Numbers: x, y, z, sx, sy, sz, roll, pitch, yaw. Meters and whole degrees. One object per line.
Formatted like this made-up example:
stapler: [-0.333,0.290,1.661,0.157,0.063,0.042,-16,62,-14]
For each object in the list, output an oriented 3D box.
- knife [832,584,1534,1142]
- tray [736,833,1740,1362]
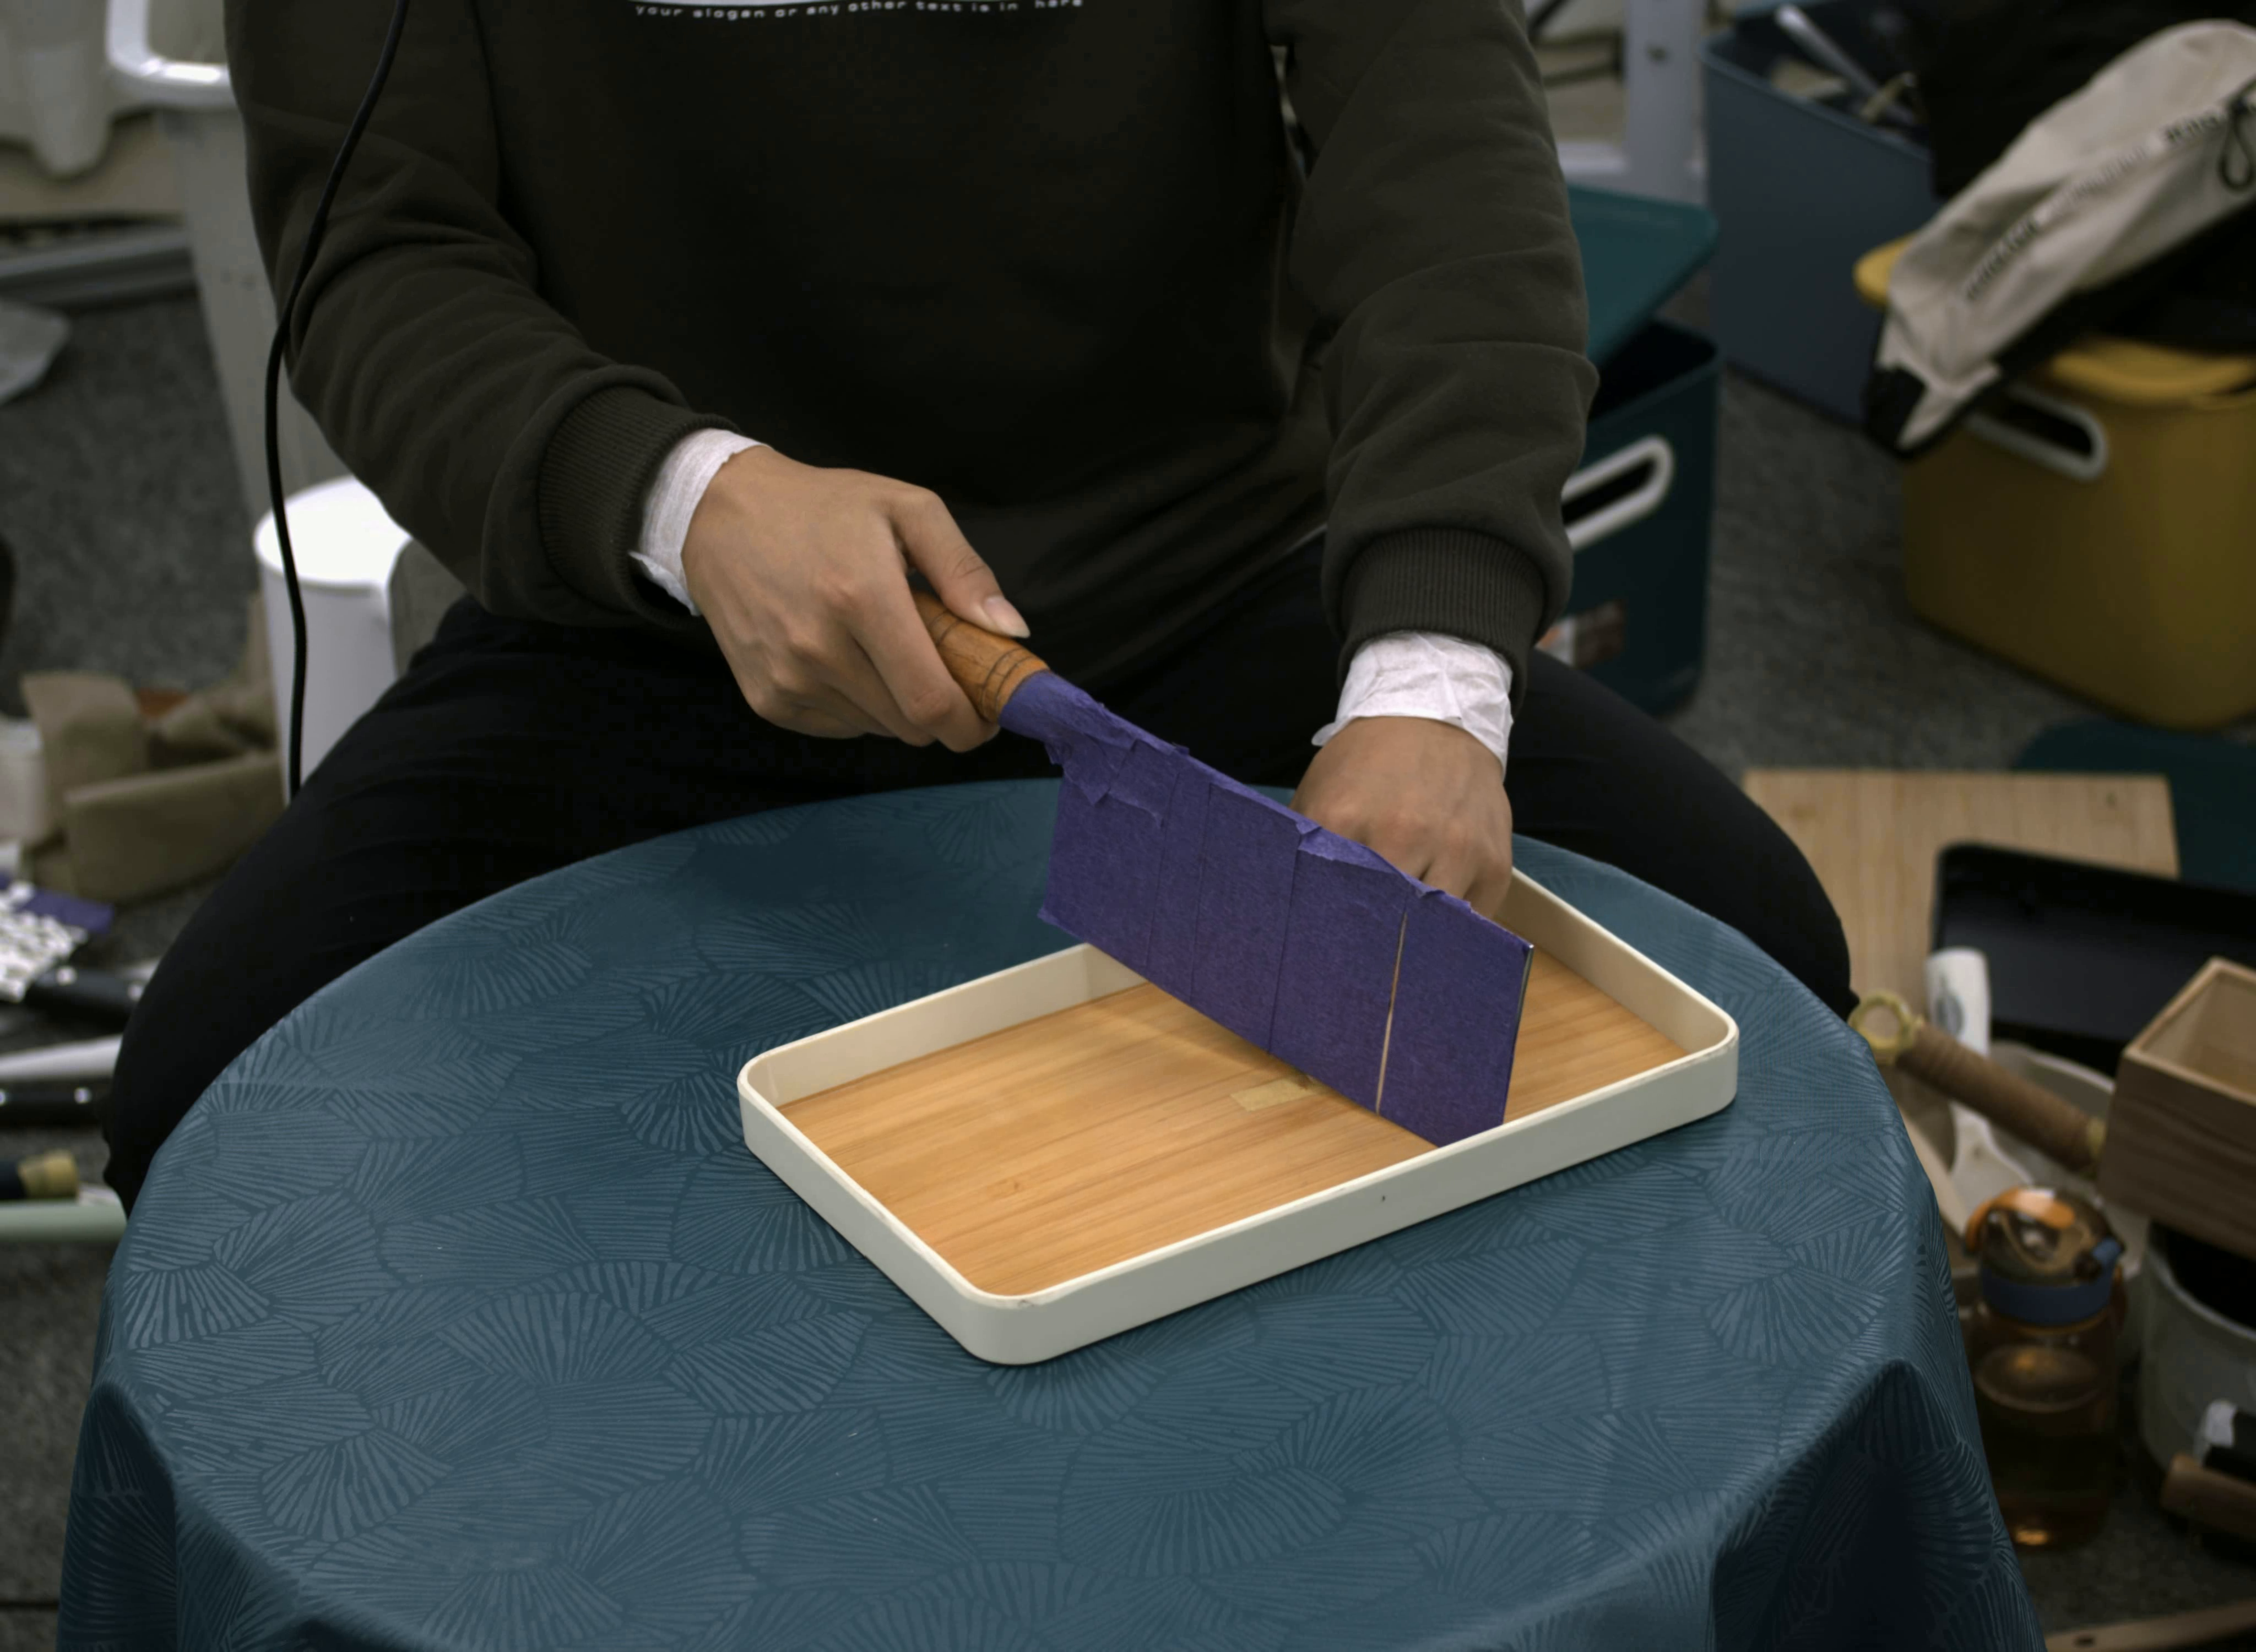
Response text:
knife: [0.011,0.014,1.916,0.315,0.103,0.032,29,31,36]
tray: [0.037,0.087,1.897,0.302,0.027,0.192,-18,30,-26]
